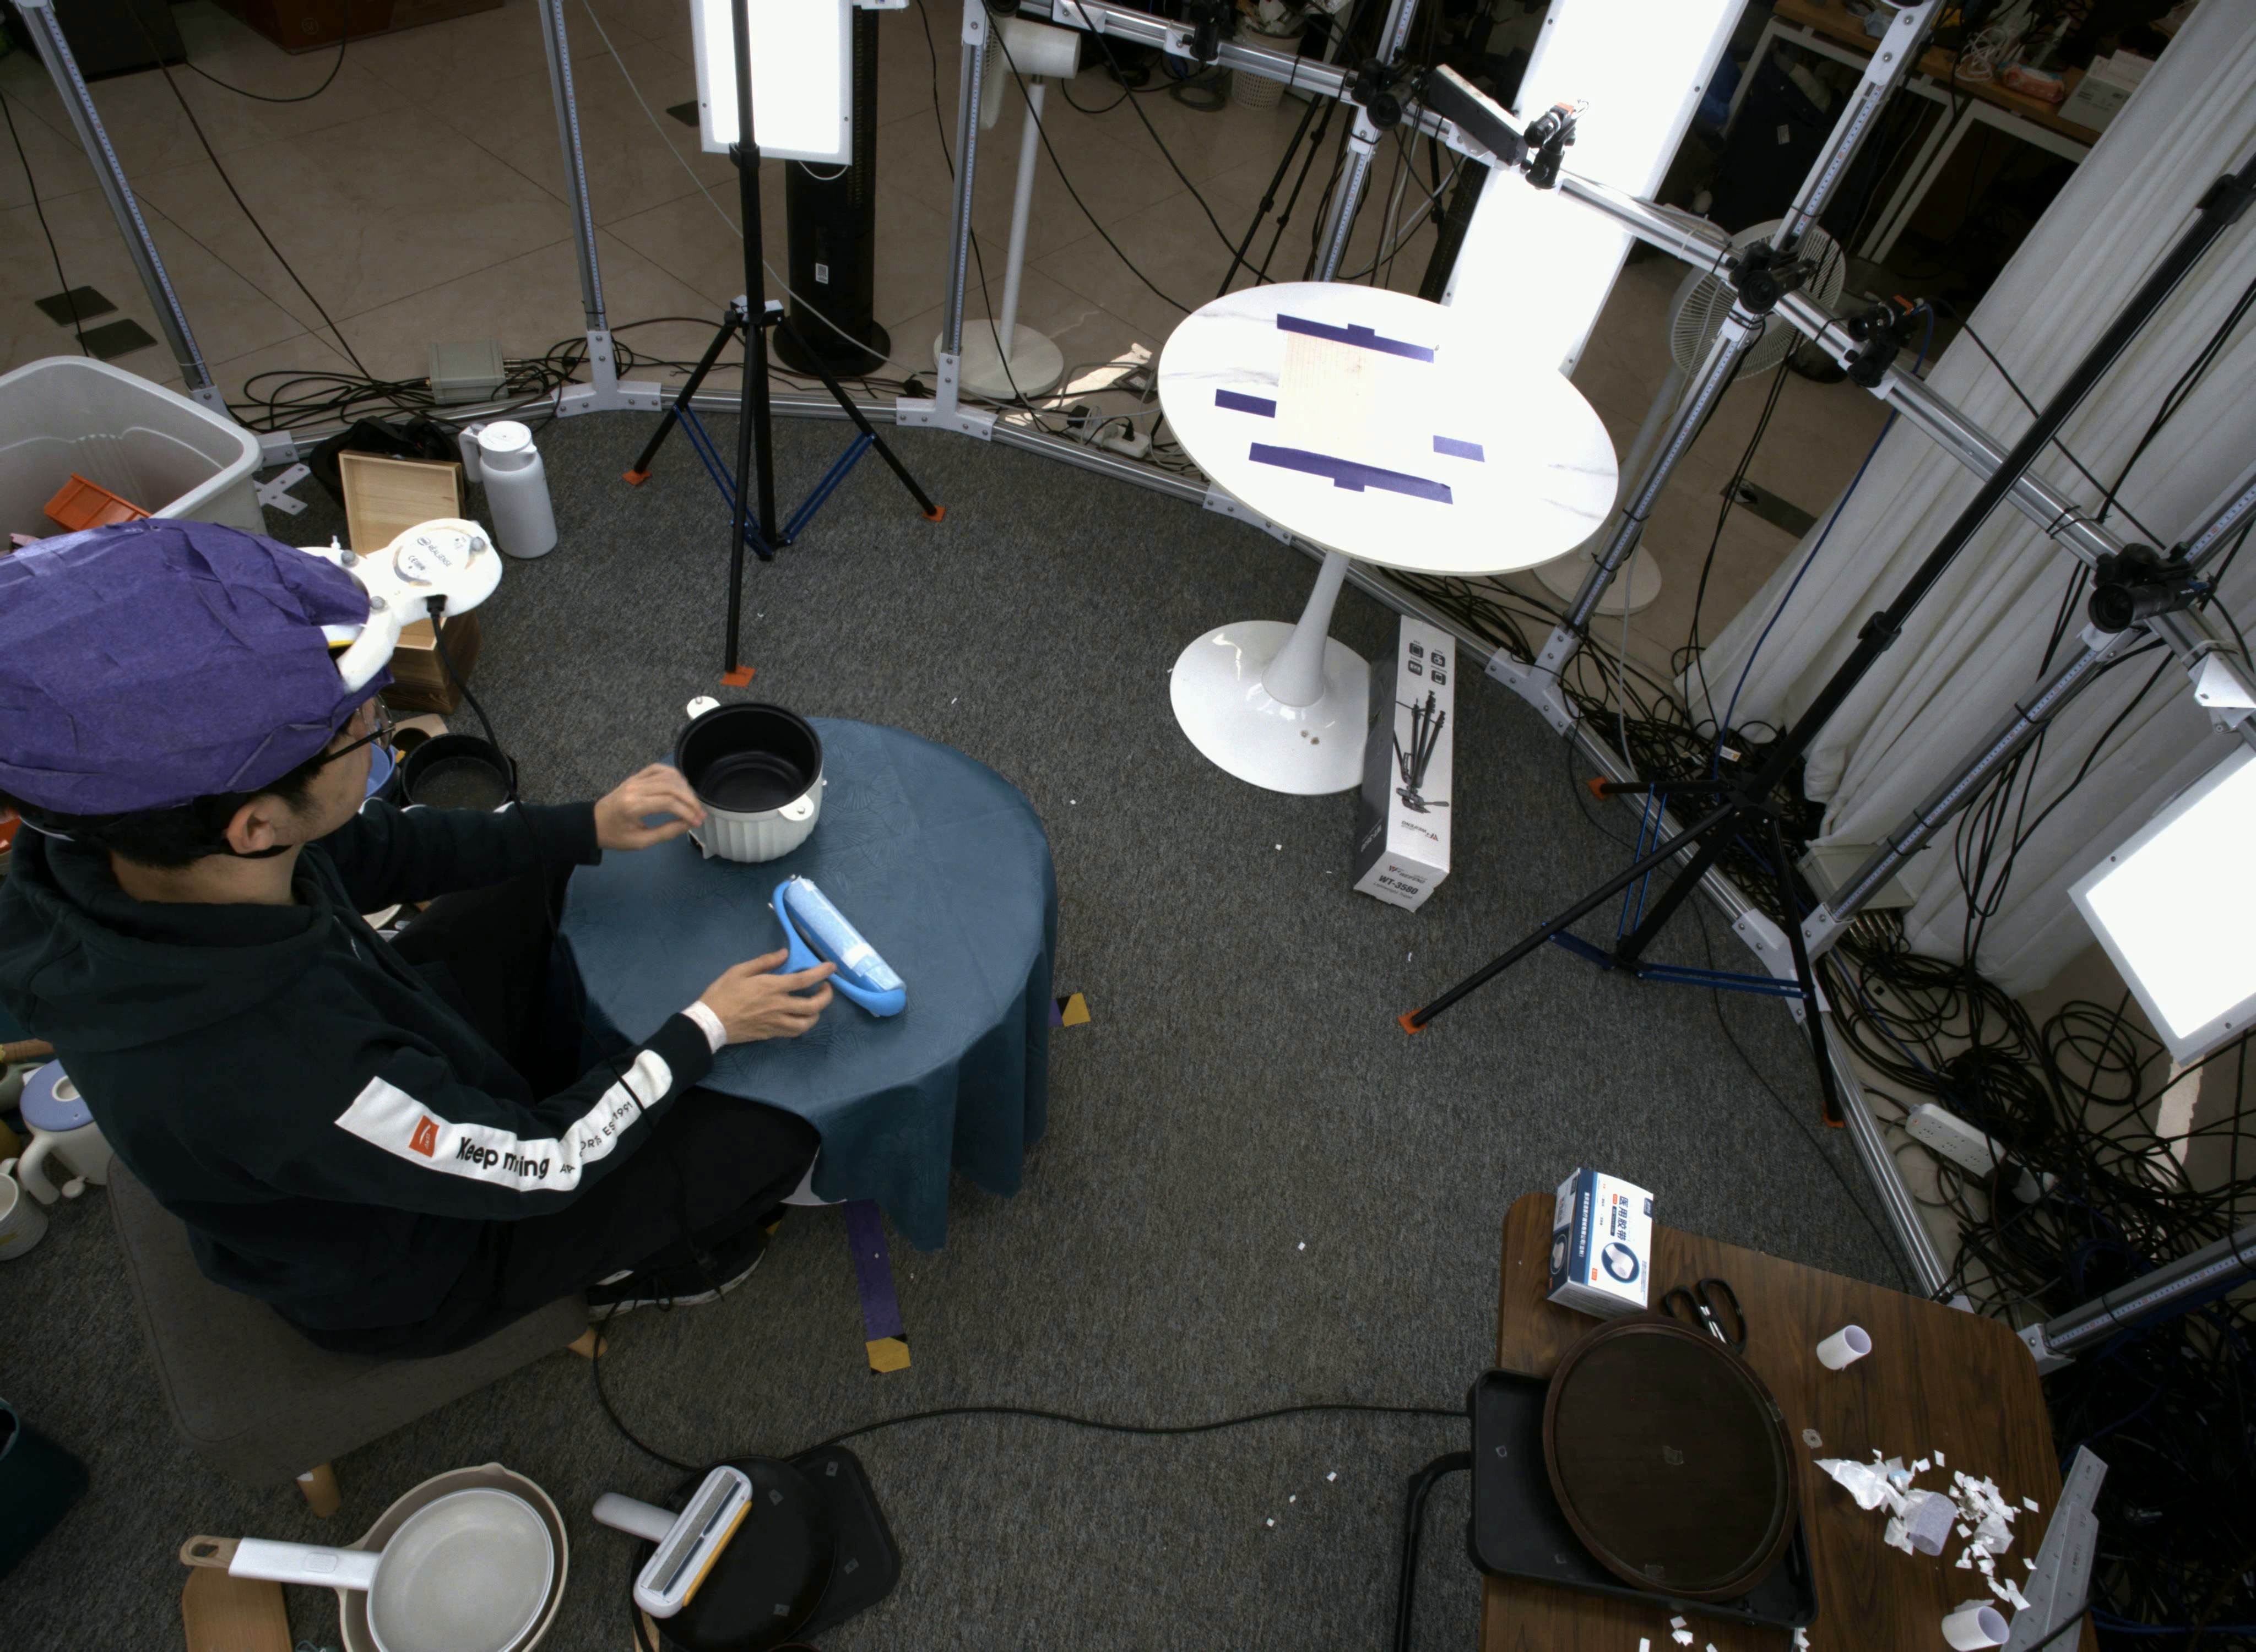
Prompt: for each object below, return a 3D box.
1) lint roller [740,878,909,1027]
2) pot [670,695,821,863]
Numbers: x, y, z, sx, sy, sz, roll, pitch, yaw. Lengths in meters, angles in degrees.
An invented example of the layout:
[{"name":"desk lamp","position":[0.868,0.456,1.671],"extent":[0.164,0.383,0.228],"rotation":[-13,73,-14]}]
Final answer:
[{"name":"lint roller","position":[-0.392,0.174,1.573],"extent":[0.225,0.069,0.180],"rotation":[42,53,13]},{"name":"pot","position":[-0.483,-0.055,1.665],"extent":[0.235,0.145,0.191],"rotation":[43,59,16]}]
